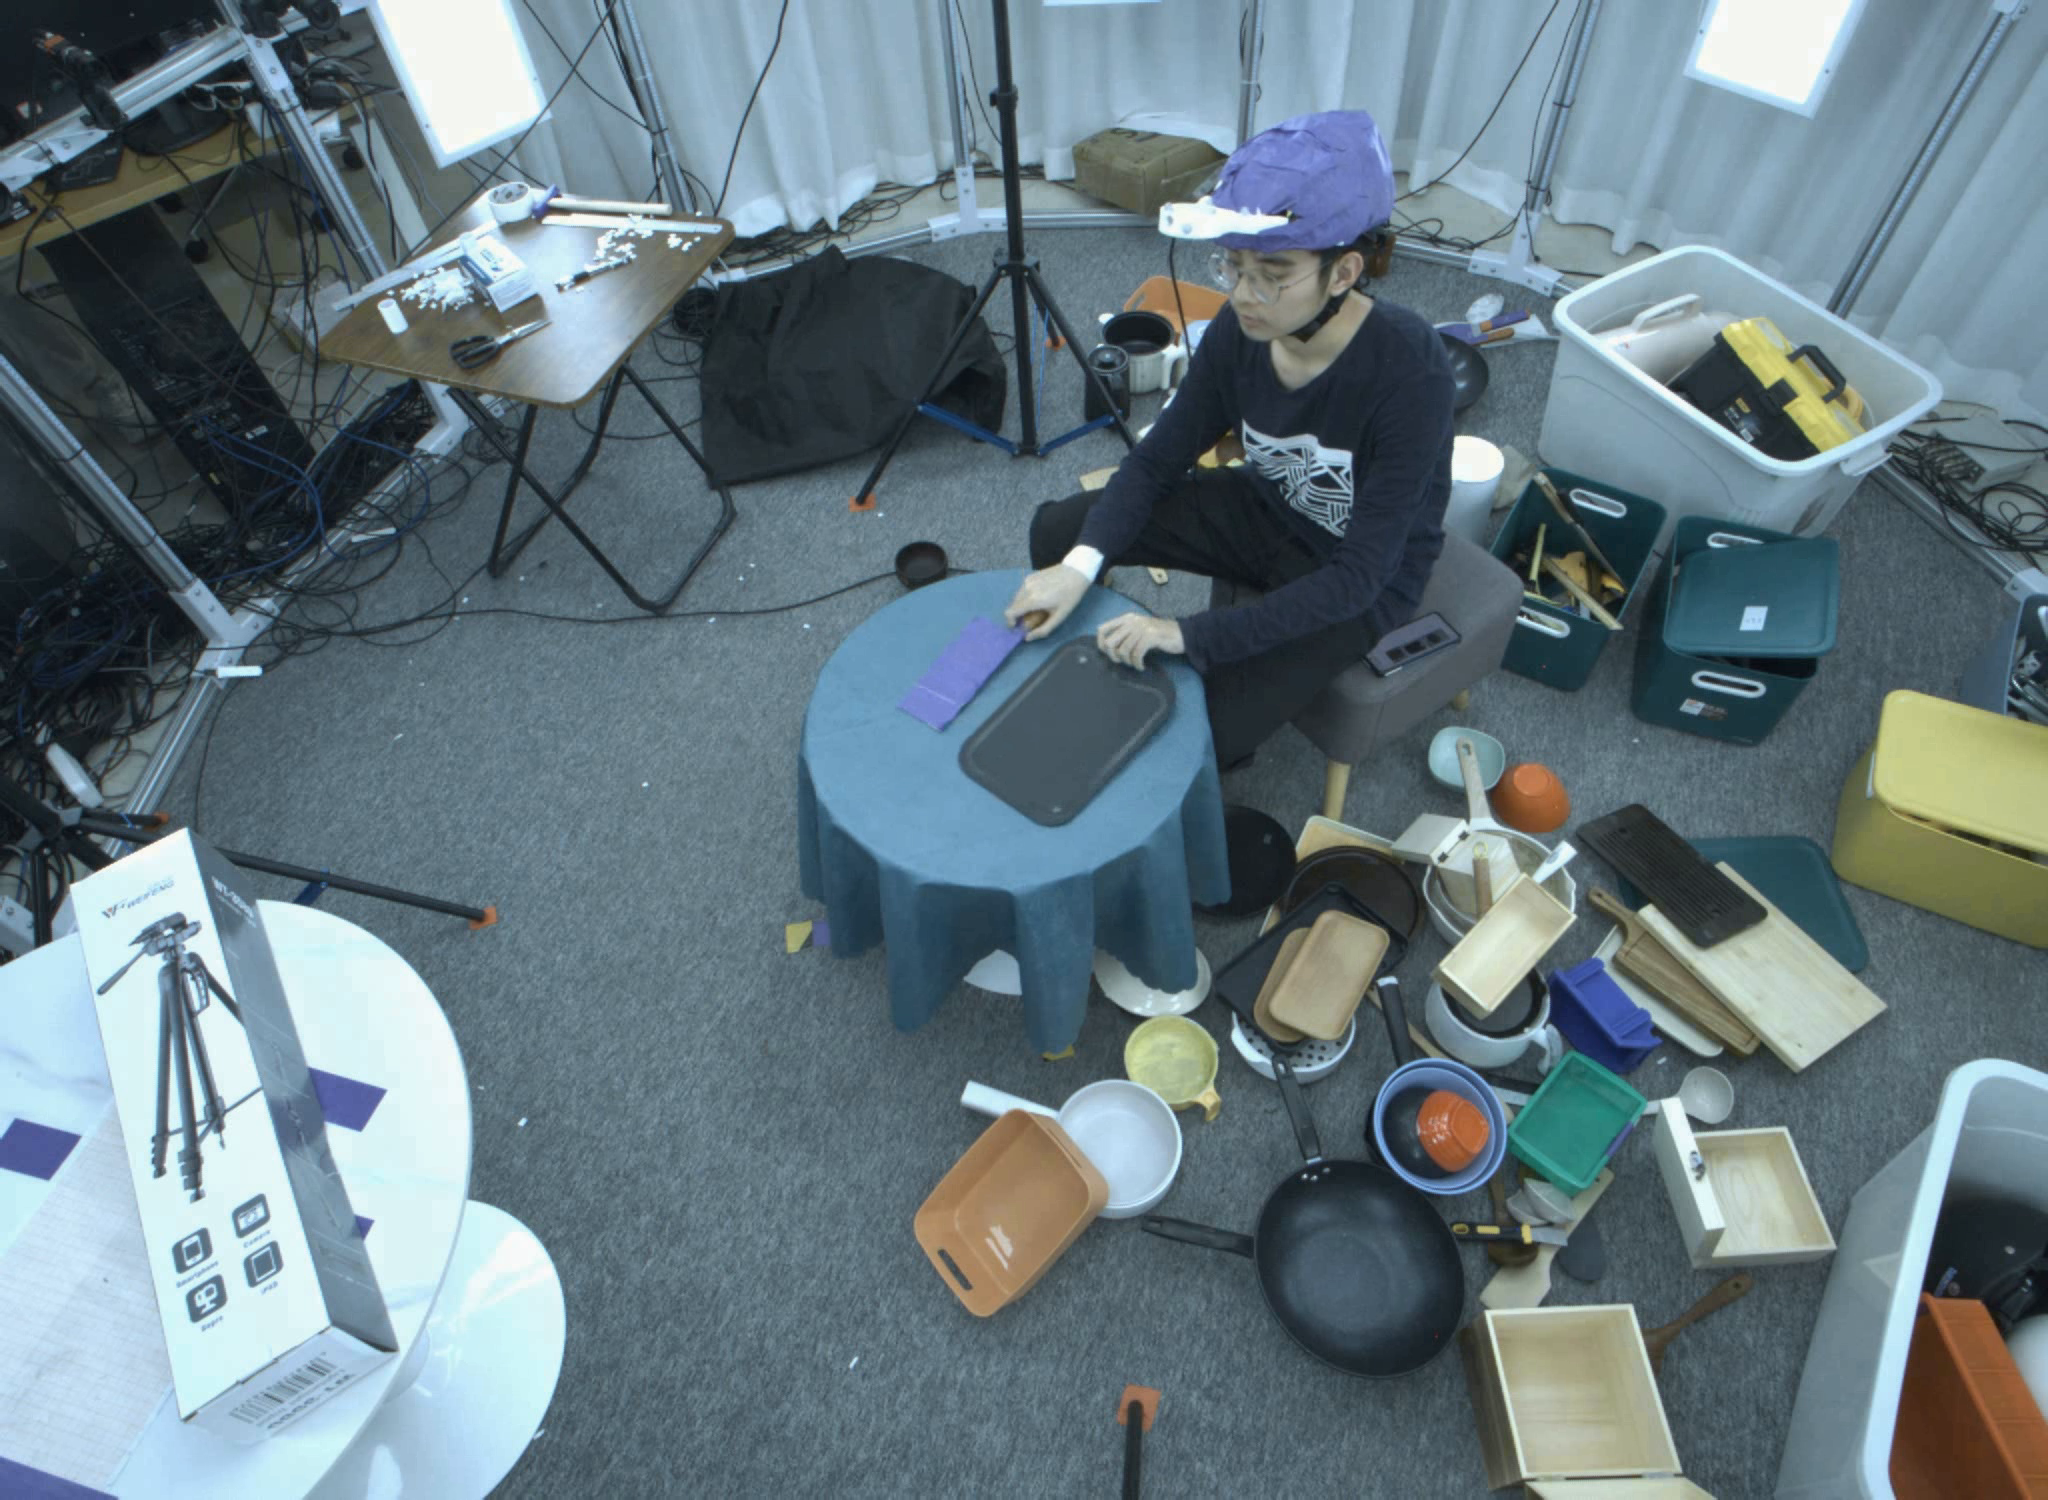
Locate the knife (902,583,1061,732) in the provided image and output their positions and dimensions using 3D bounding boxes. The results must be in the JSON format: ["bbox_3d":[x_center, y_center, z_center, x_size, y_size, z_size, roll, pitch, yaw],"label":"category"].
[{"bbox_3d":[-0.067,-0.158,1.887,0.102,0.032,0.316,29,62,21],"label":"knife"}]

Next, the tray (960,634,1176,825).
[{"bbox_3d":[0.070,-0.043,1.807,0.207,0.010,0.327,35,66,22],"label":"tray"}]
